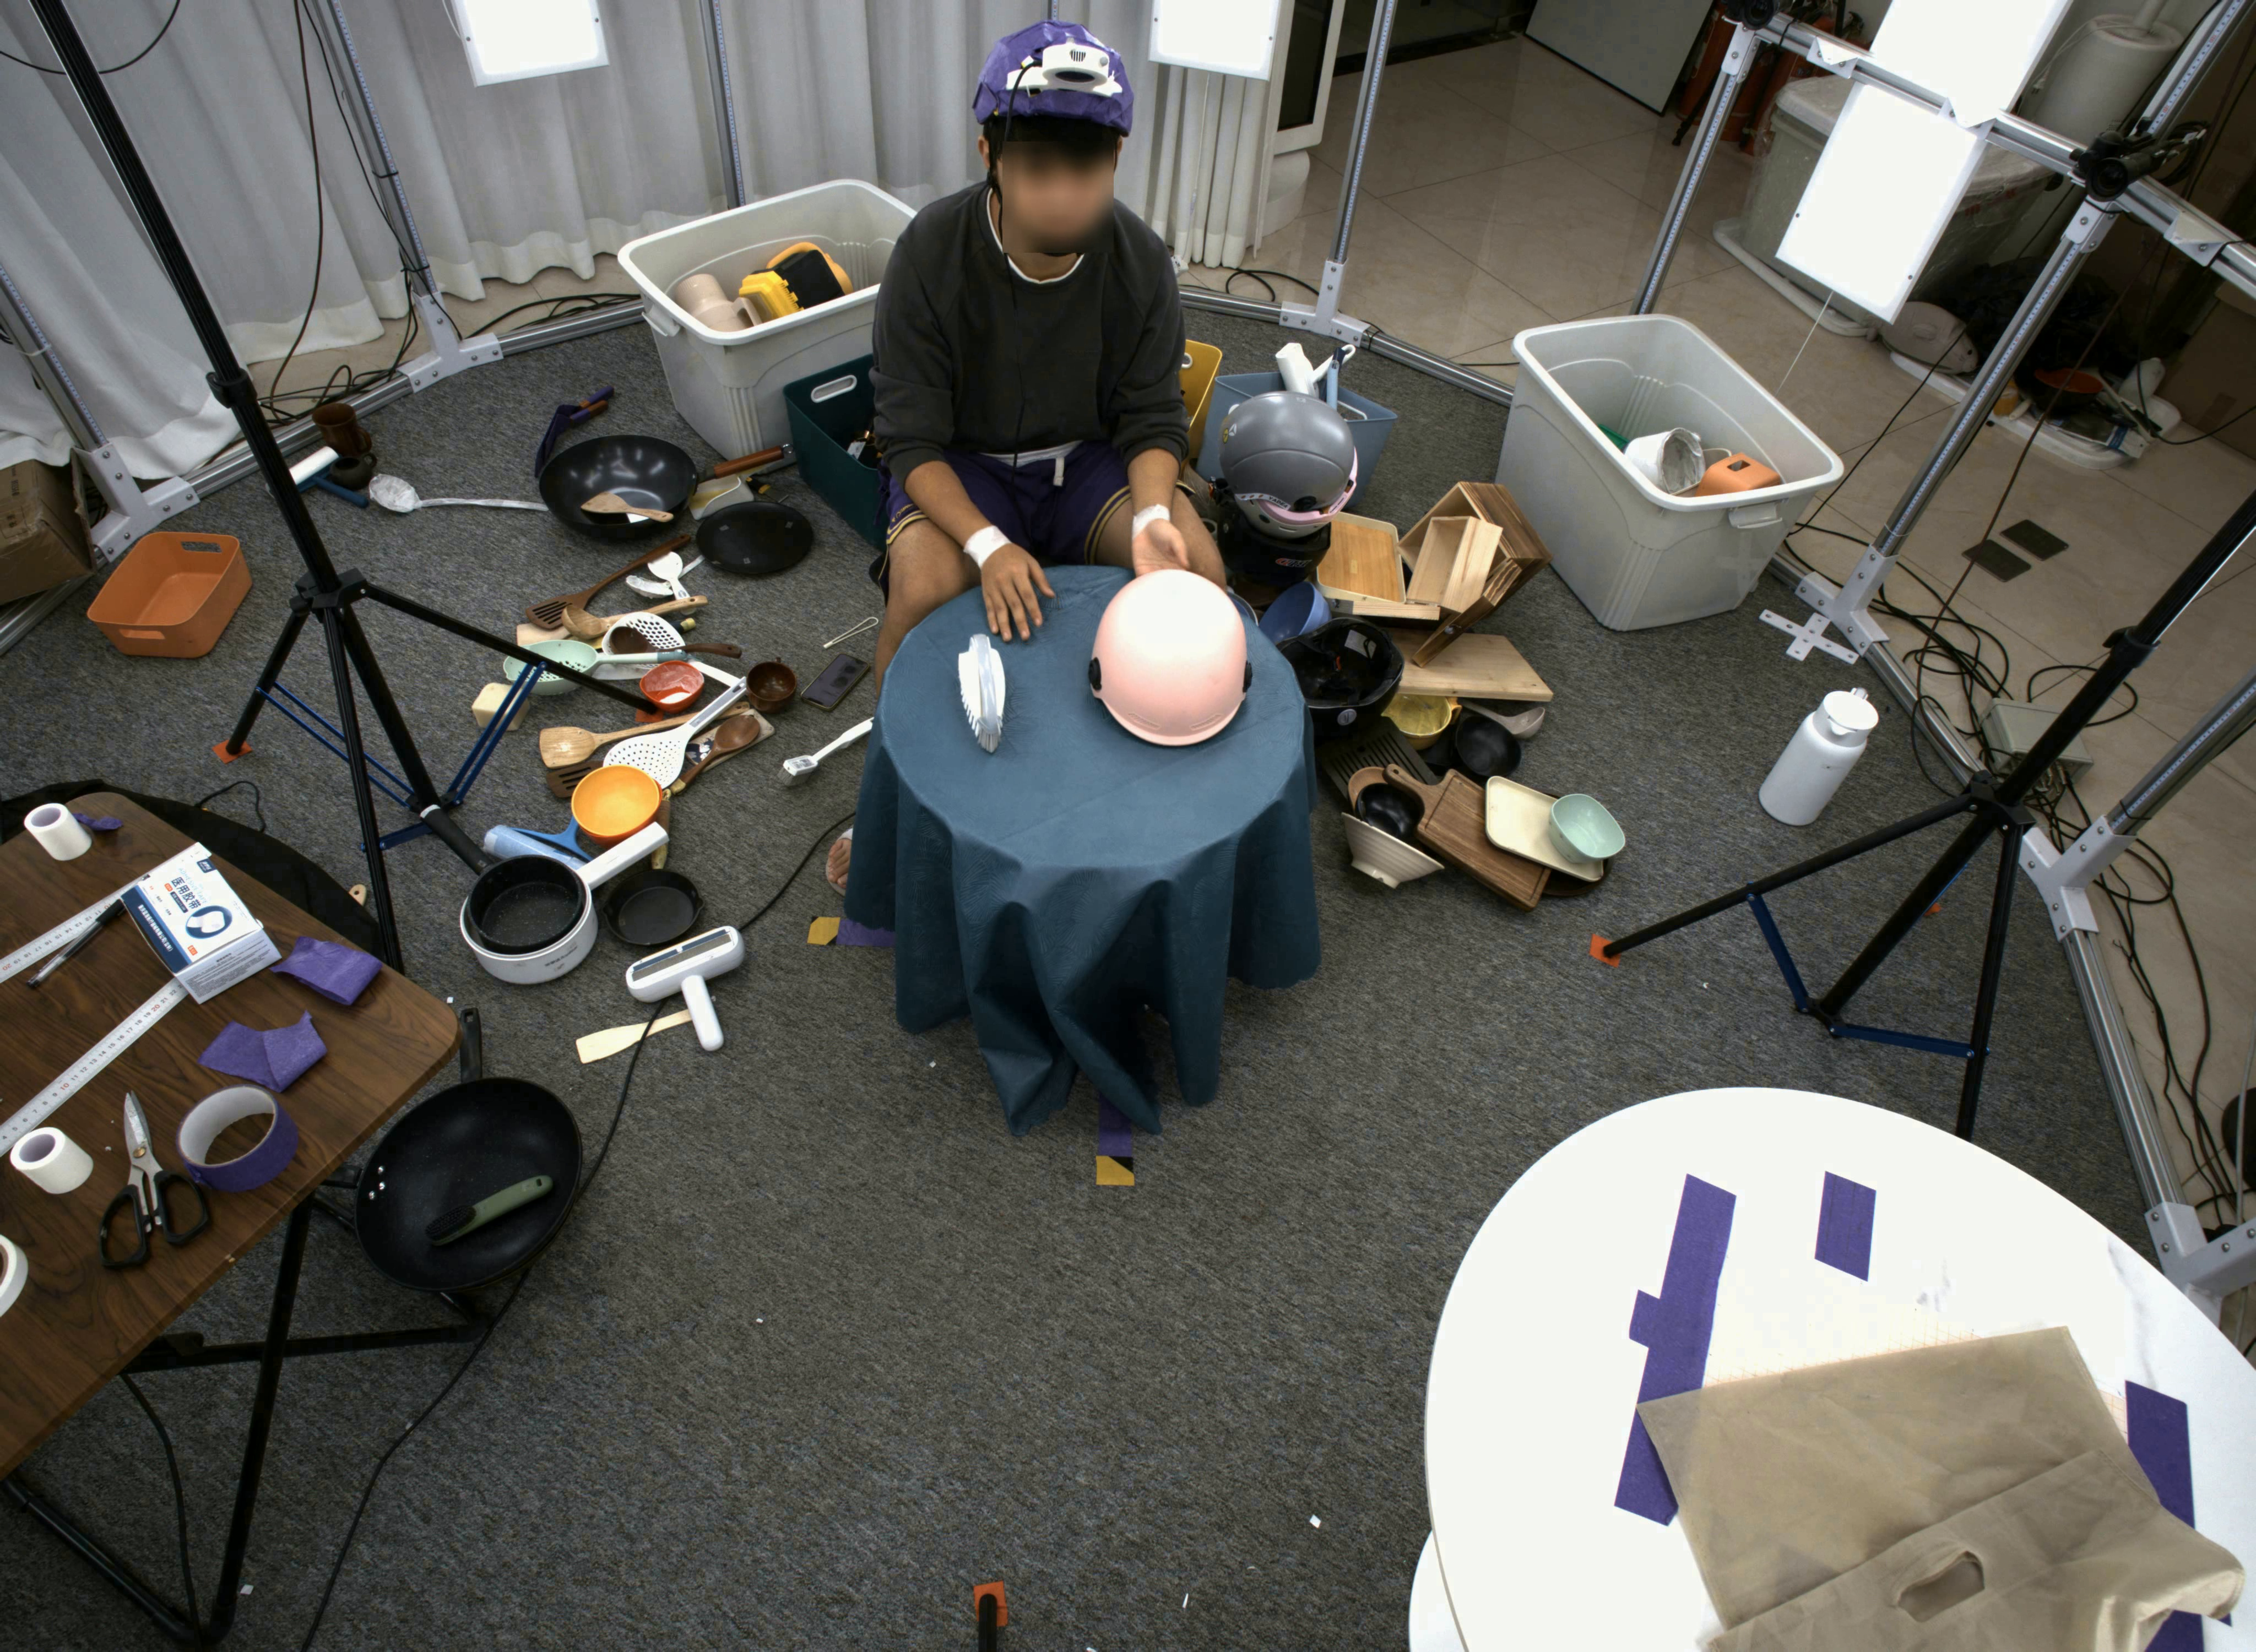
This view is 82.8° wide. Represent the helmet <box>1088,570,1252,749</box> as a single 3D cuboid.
[{"bbox_3d":[0.062,-0.254,1.794,0.234,0.155,0.272,0,53,-4],"label":"helmet"}]

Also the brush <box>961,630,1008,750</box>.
[{"bbox_3d":[-0.195,-0.196,1.764,0.061,0.092,0.180,-6,51,-7],"label":"brush"}]
